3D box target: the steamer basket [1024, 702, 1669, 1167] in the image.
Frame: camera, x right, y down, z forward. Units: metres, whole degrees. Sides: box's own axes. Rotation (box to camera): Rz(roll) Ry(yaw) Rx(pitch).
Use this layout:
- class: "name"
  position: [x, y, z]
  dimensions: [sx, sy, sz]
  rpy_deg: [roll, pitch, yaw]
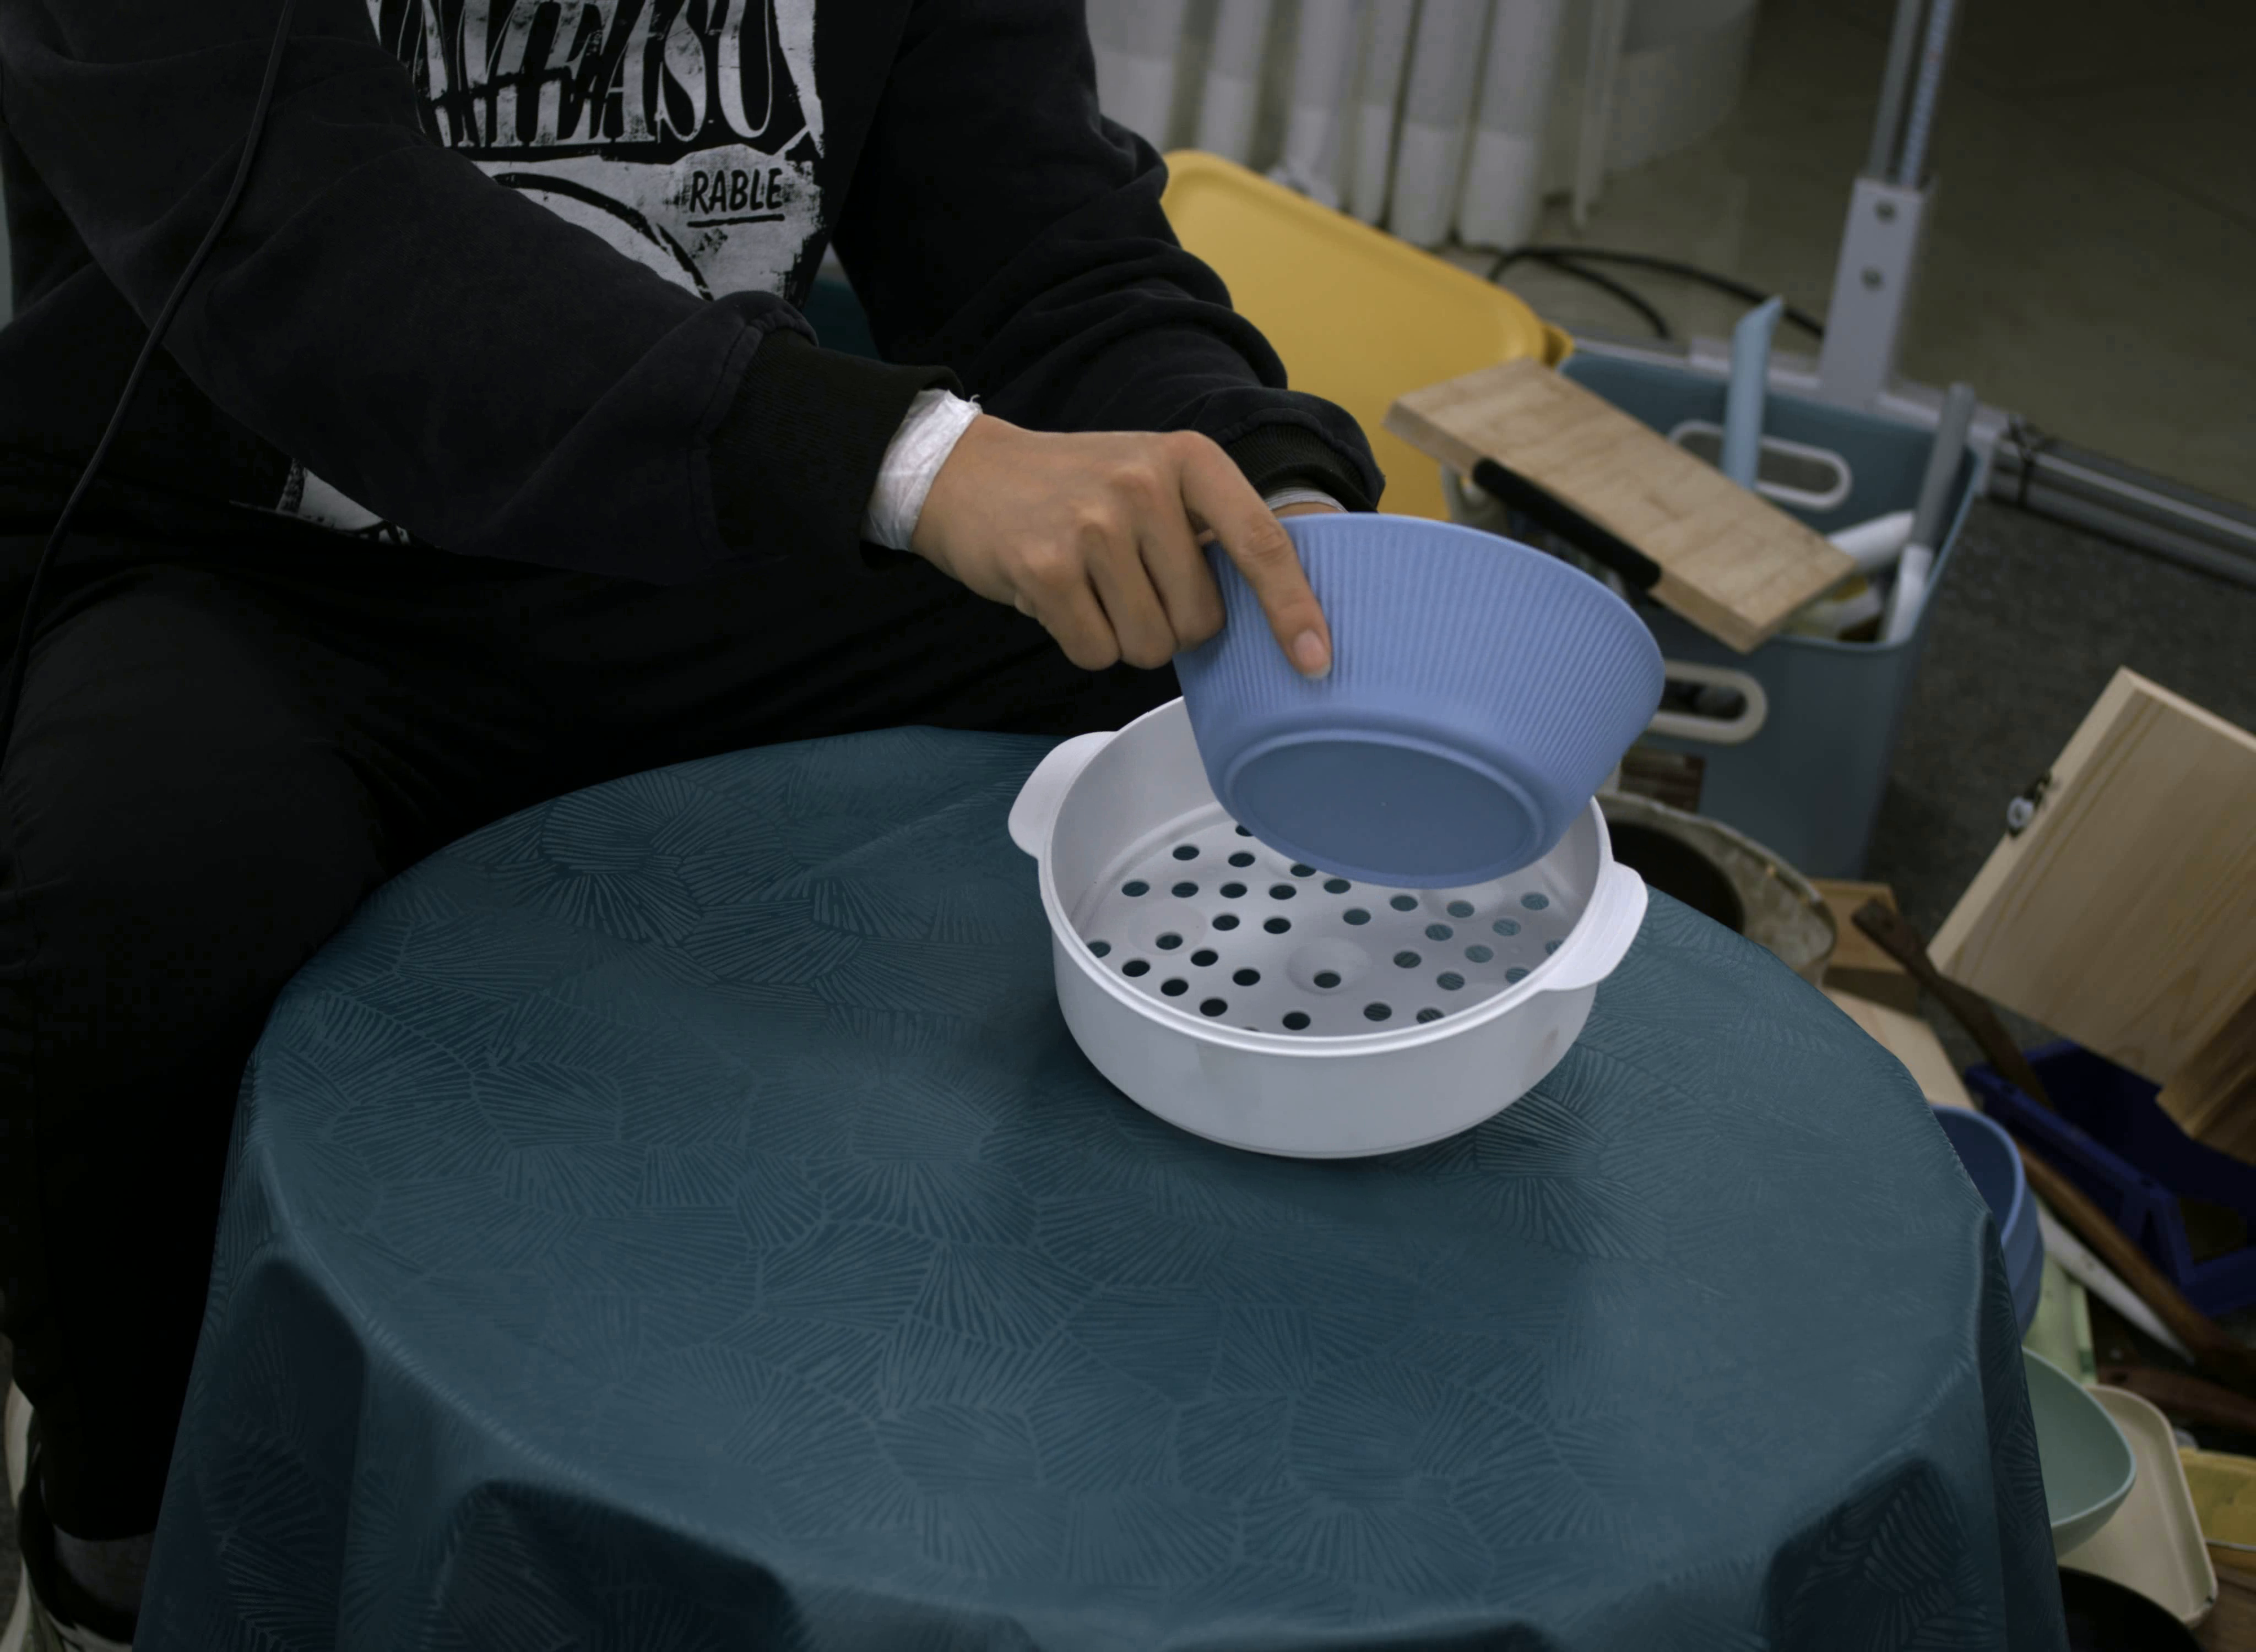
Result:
- class: "steamer basket"
  position: [0.075, 0.033, 1.876]
  dimensions: [0.231, 0.069, 0.202]
  rpy_deg: [15, 44, 18]

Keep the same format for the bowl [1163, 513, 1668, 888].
- class: "bowl"
  position: [0.093, -0.034, 1.814]
  dimensions: [0.176, 0.175, 0.071]
  rpy_deg: [9, 63, 4]
